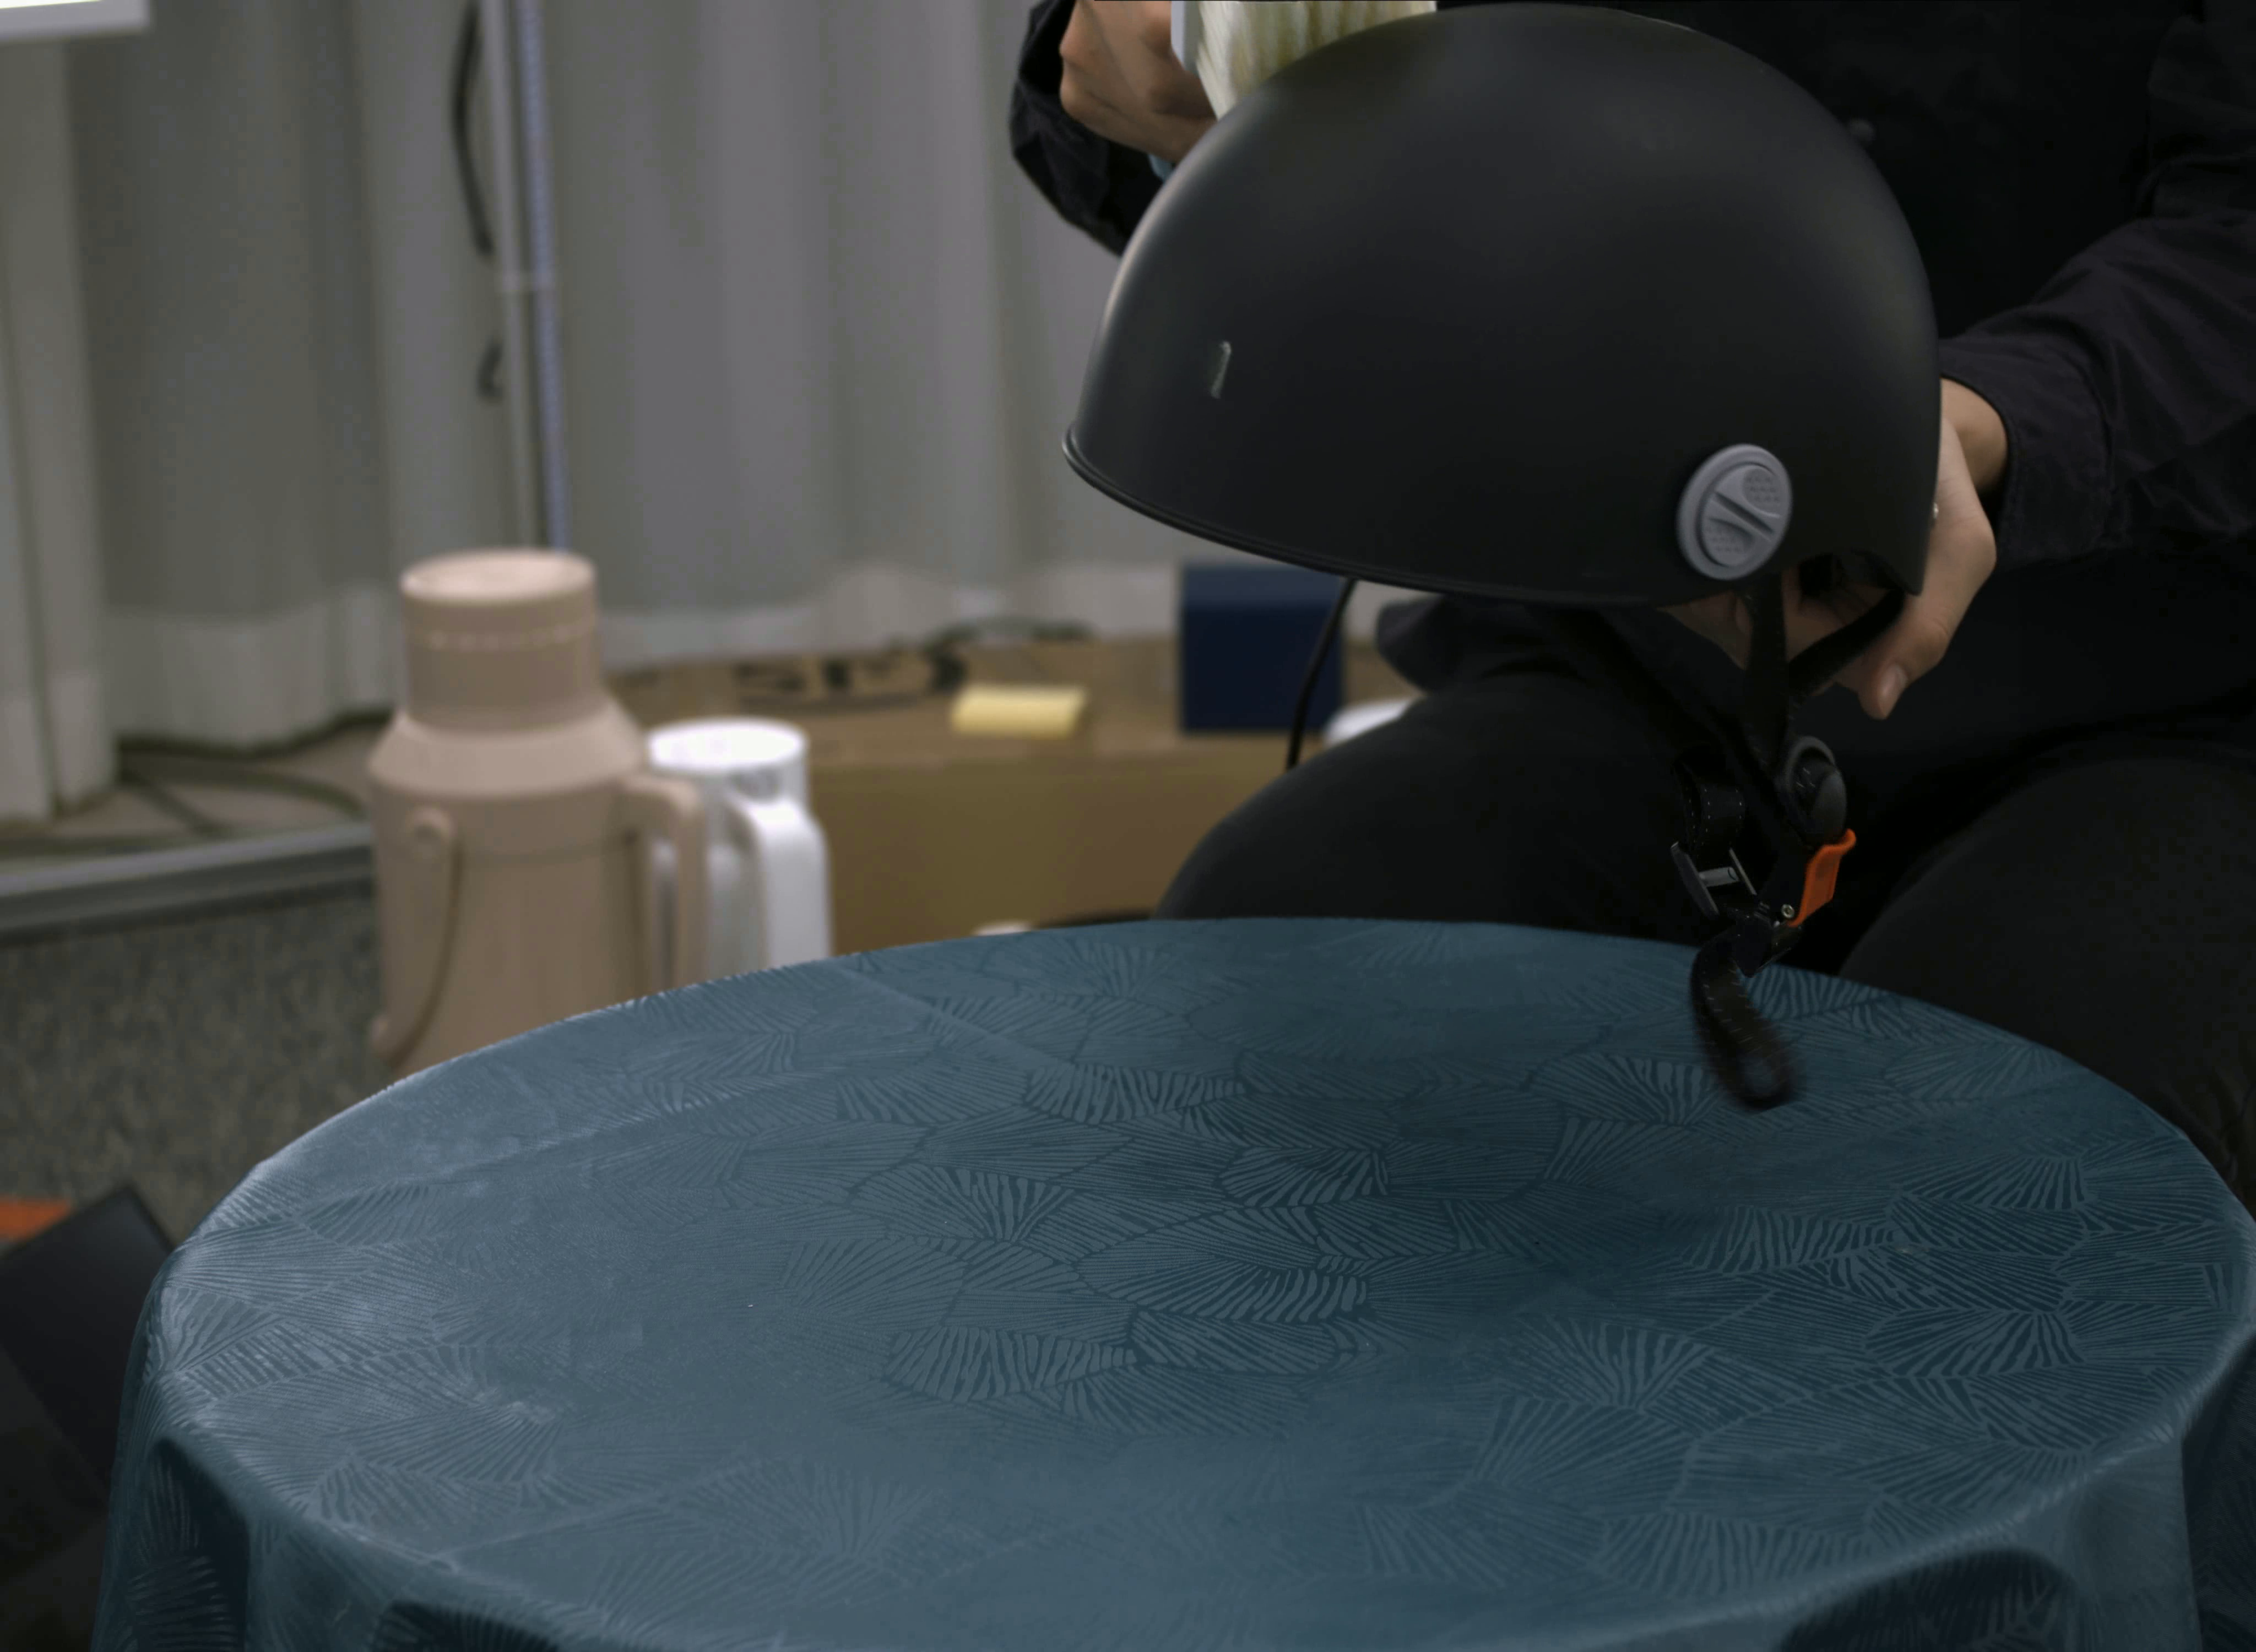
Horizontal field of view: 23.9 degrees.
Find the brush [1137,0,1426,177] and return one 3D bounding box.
[{"bbox_3d":[0.045,-0.232,1.635,0.083,0.085,0.325,14,-13,-1],"label":"brush"}]

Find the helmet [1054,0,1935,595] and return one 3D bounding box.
[{"bbox_3d":[0.116,-0.155,1.519,0.266,0.167,0.235,1,16,-46],"label":"helmet"}]
